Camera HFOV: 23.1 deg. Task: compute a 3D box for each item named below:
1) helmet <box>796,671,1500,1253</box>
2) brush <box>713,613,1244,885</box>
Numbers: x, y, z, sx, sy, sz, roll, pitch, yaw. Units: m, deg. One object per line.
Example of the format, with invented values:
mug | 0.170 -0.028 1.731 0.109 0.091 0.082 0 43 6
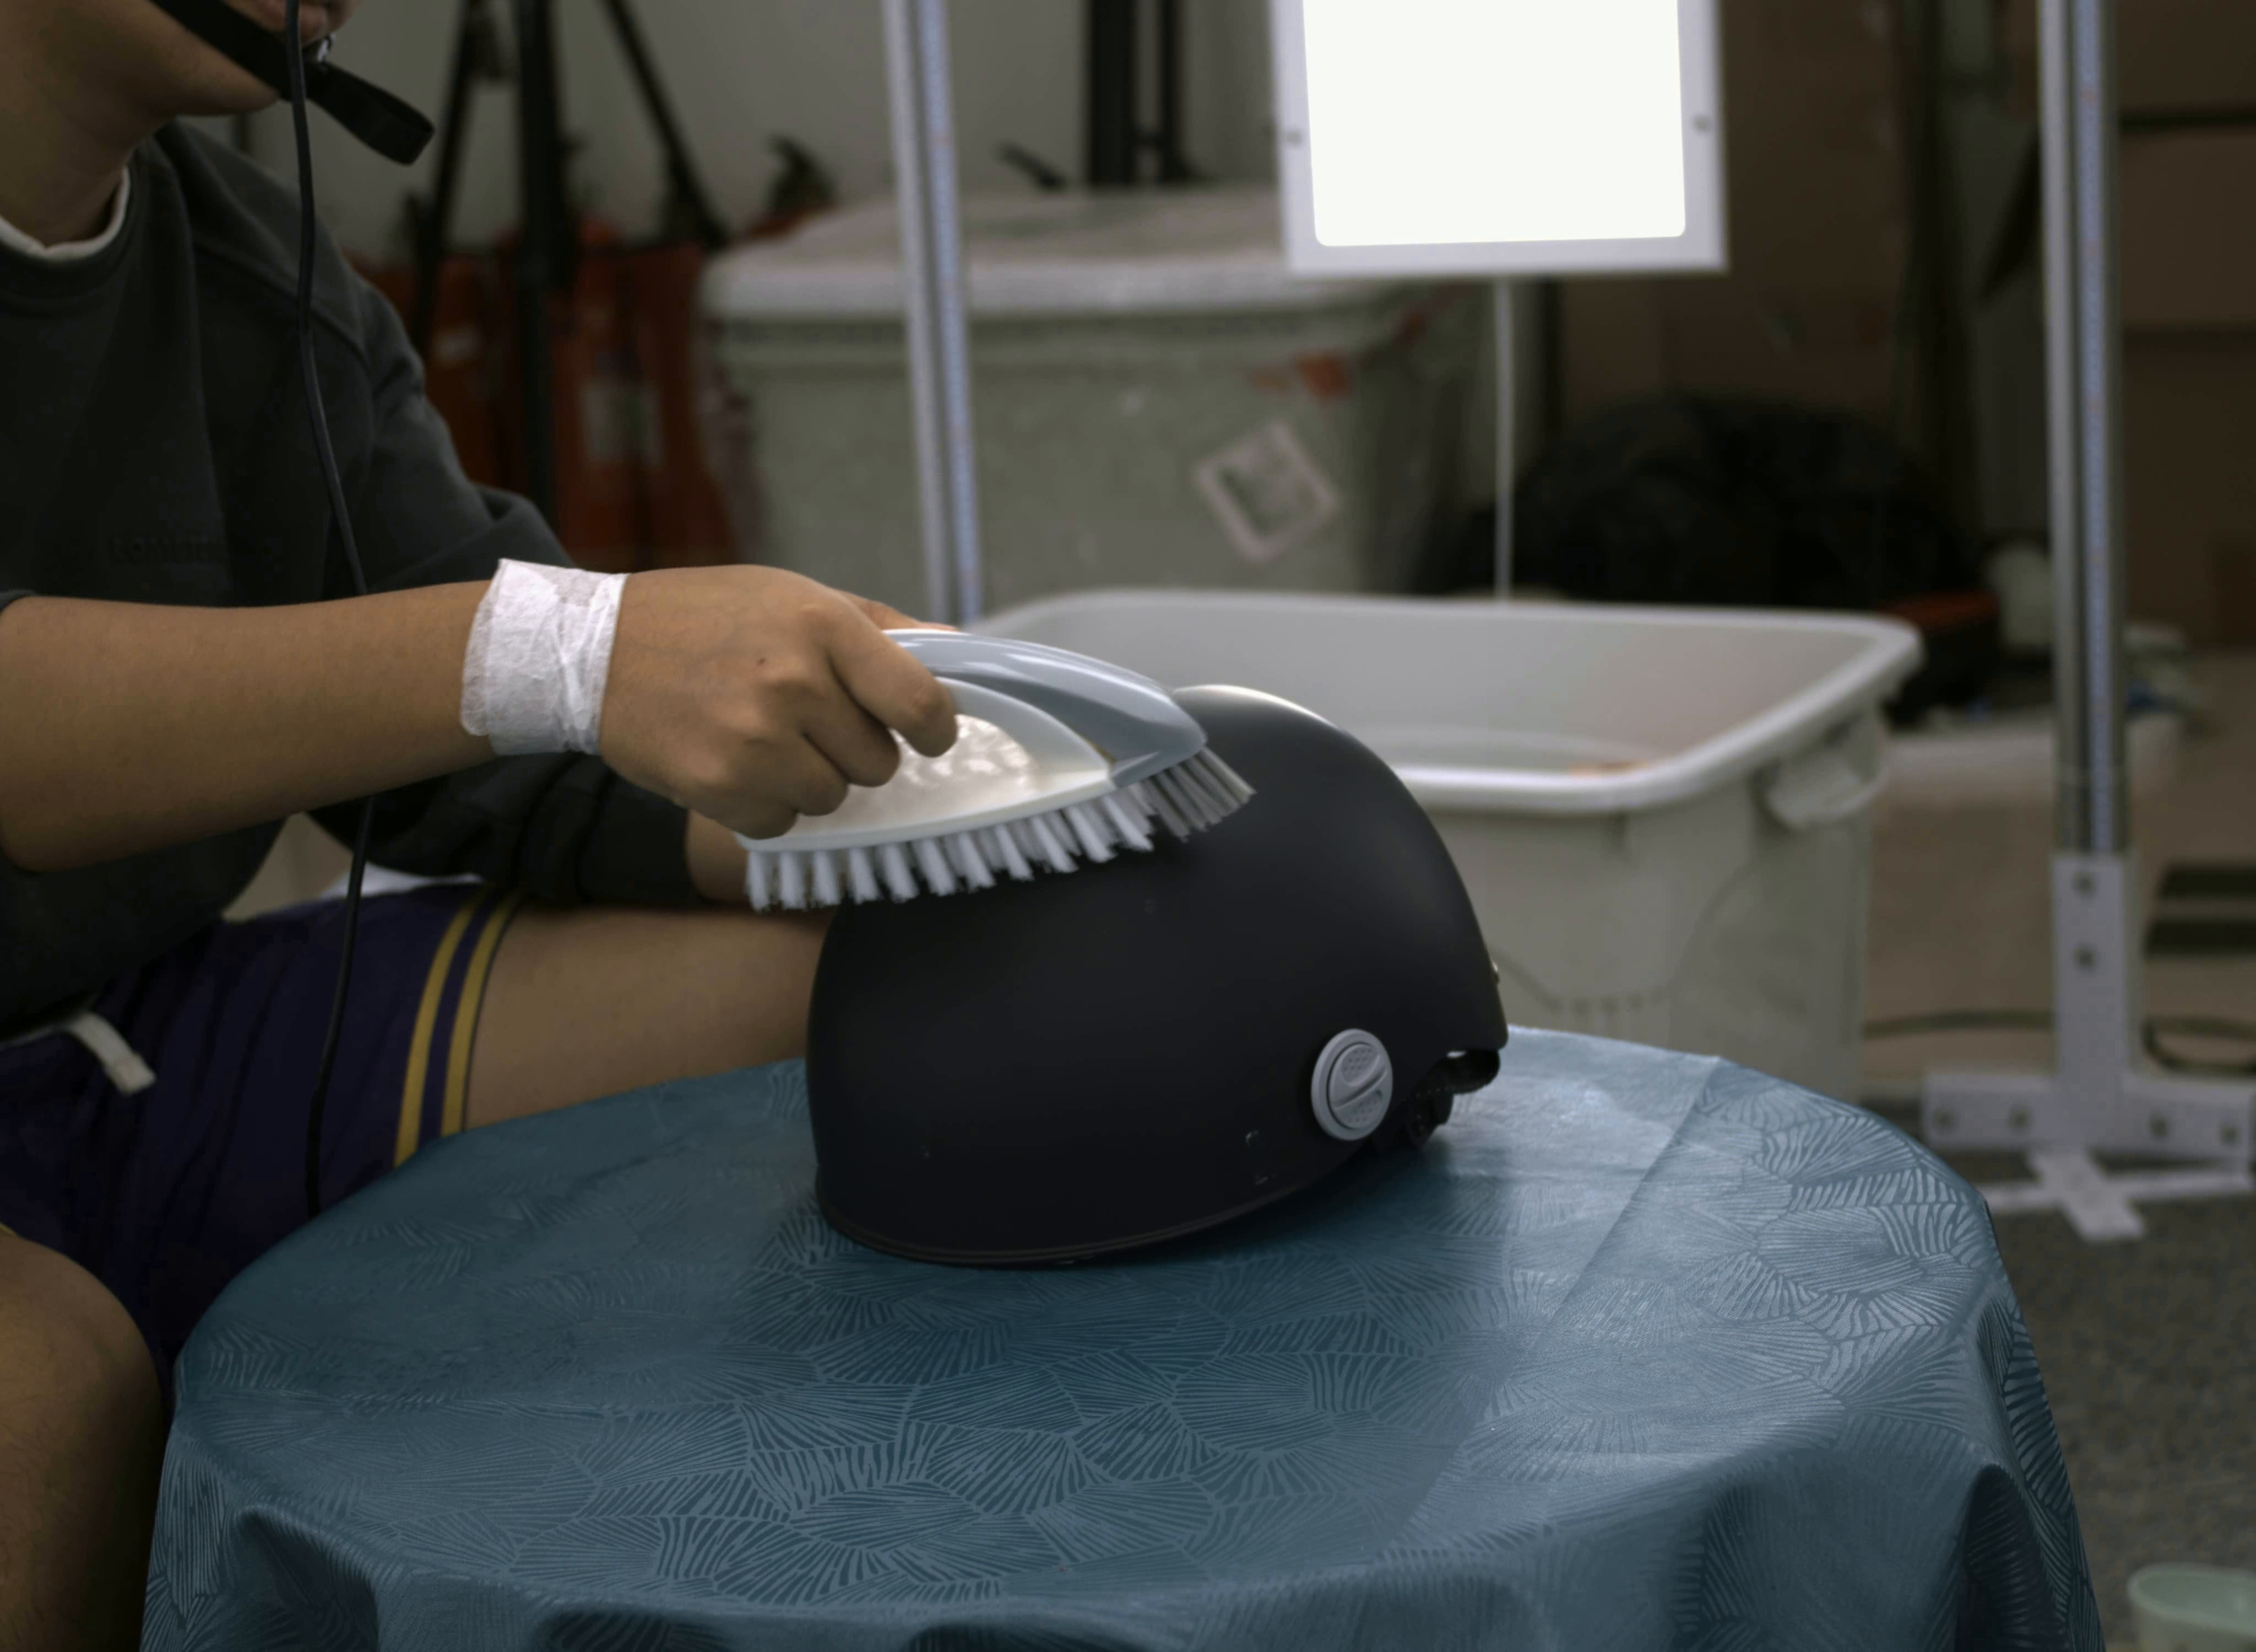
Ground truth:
helmet | 0.000 0.036 1.921 0.235 0.167 0.266 3 19 38
brush | -0.054 -0.034 1.823 0.178 0.094 0.061 -2 46 20
